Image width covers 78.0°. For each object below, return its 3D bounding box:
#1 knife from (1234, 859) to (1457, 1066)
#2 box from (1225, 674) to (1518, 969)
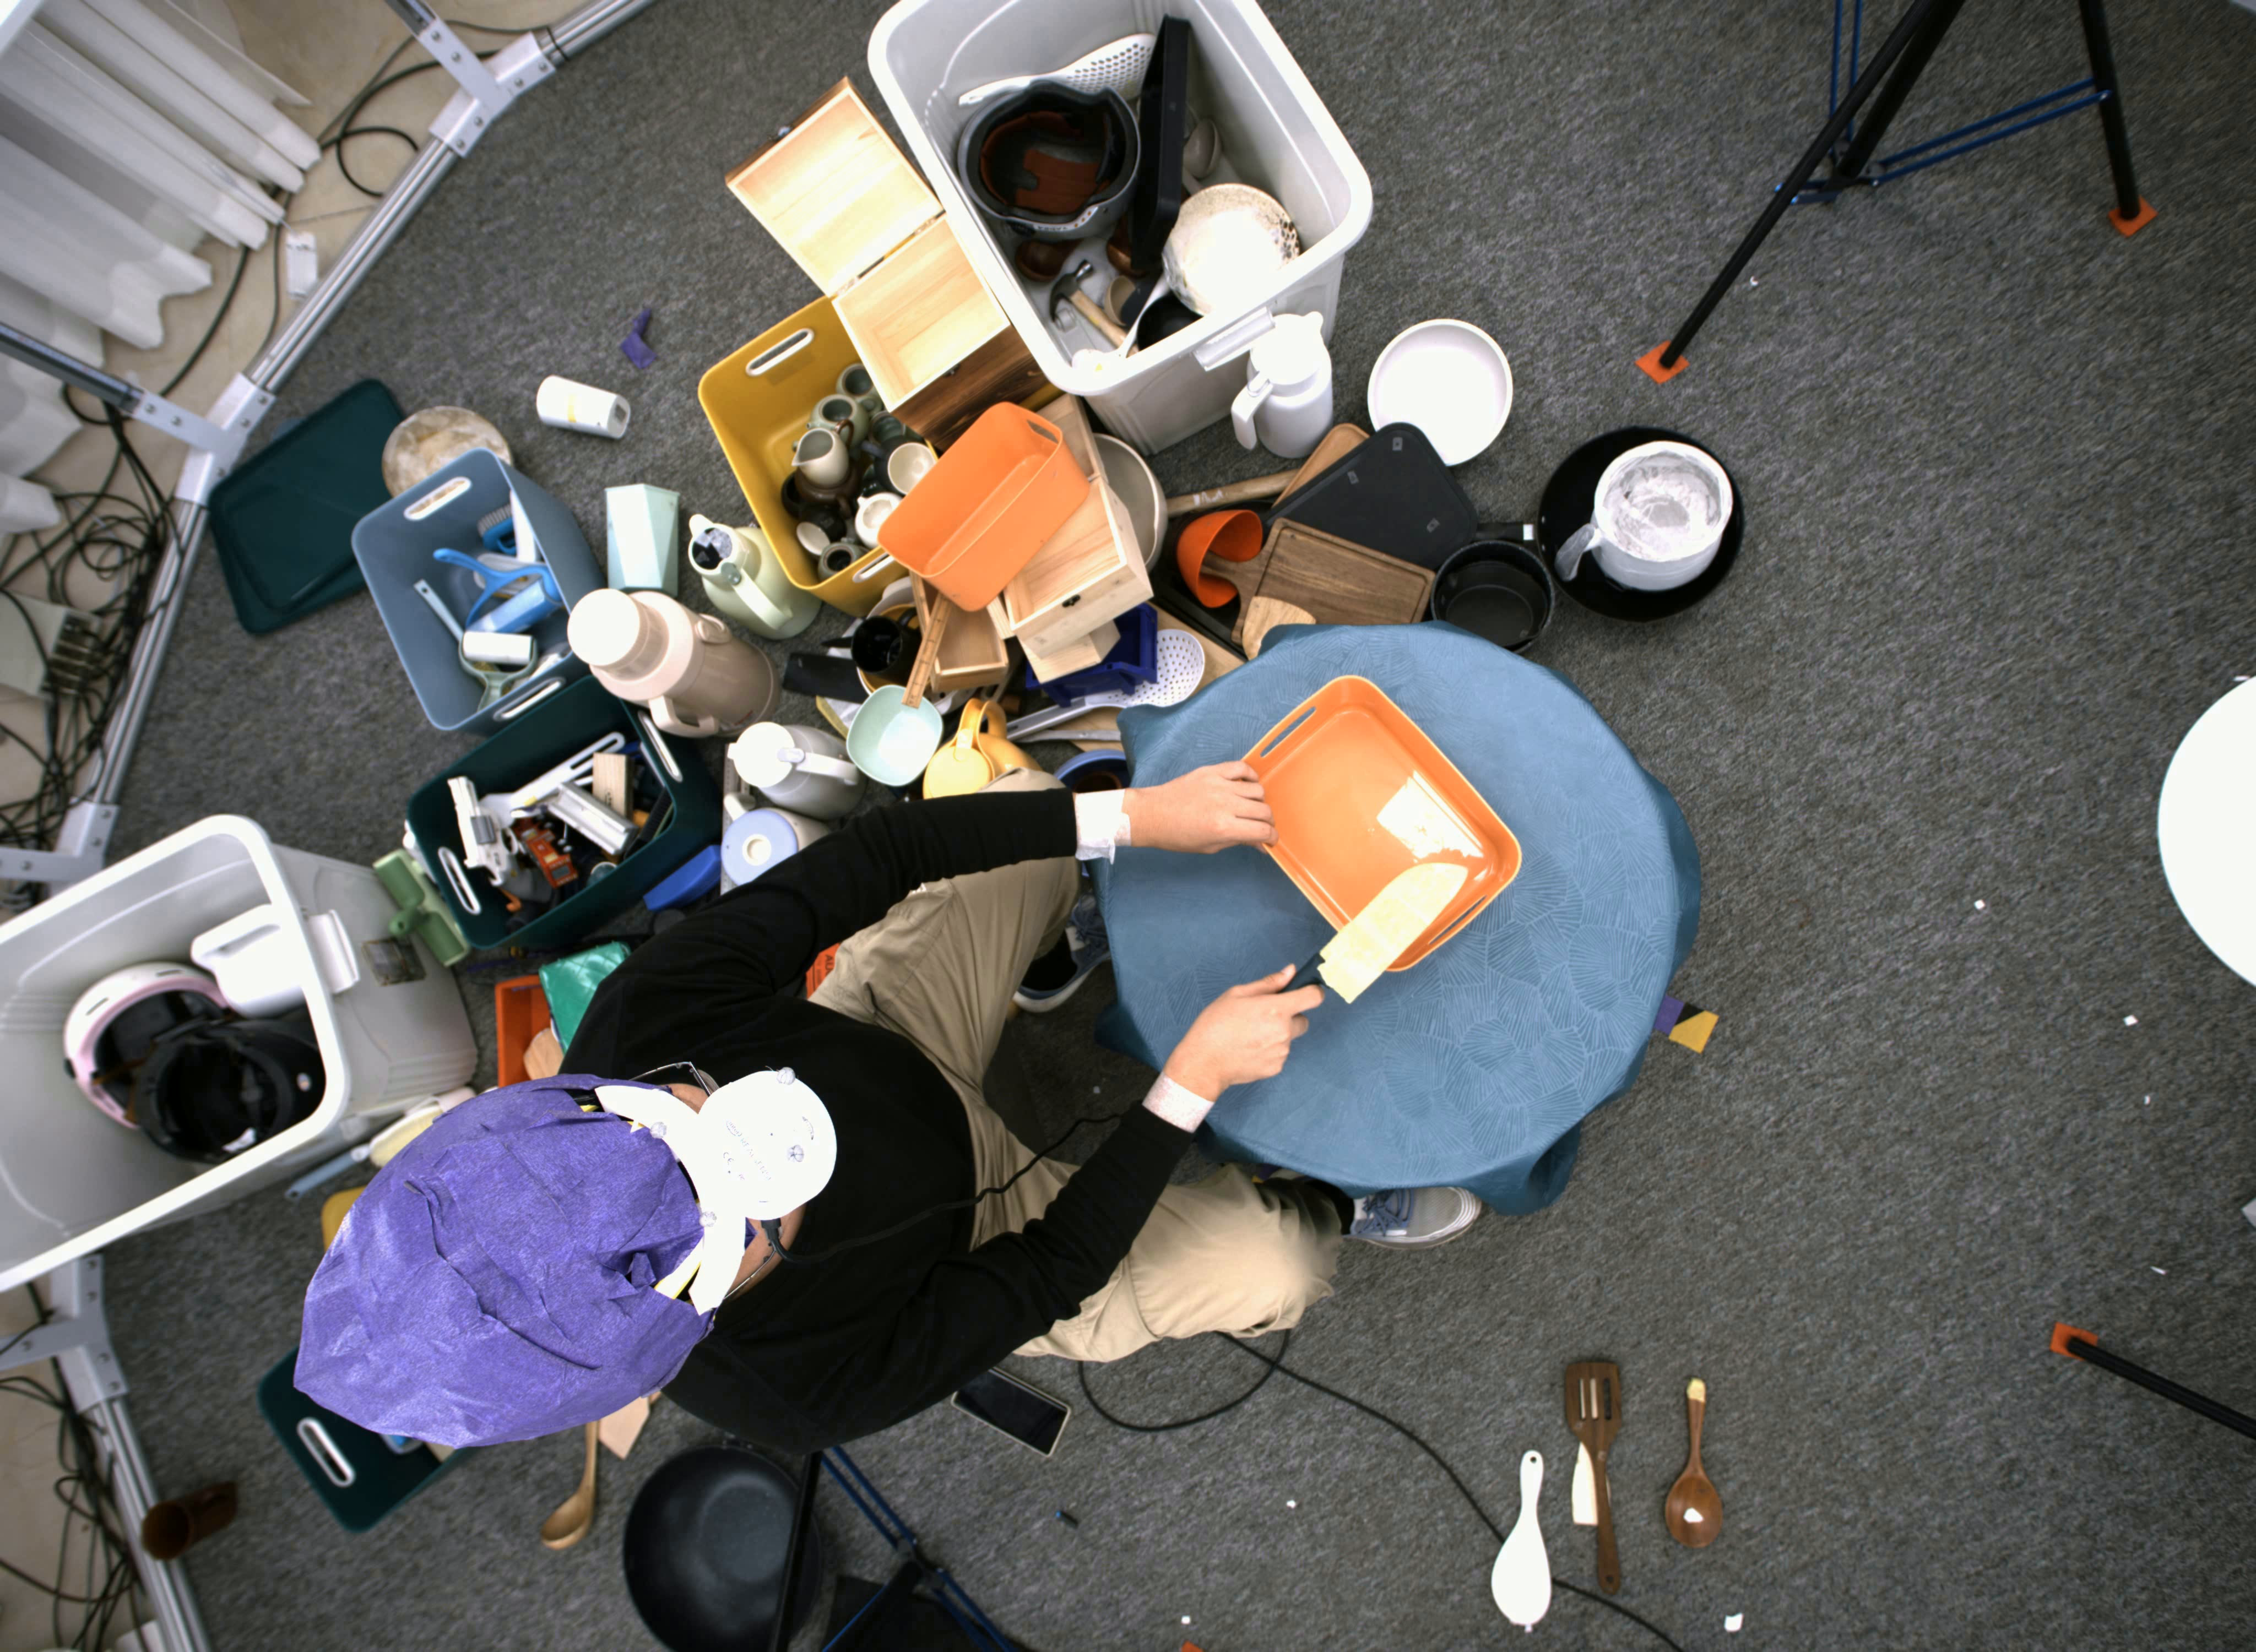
[{"bbox_3d":[0.214,0.134,1.346,0.291,0.027,0.079,-45,36,8],"label":"knife"},{"bbox_3d":[0.247,-0.001,1.415,0.200,0.102,0.272,-42,81,4],"label":"box"}]
